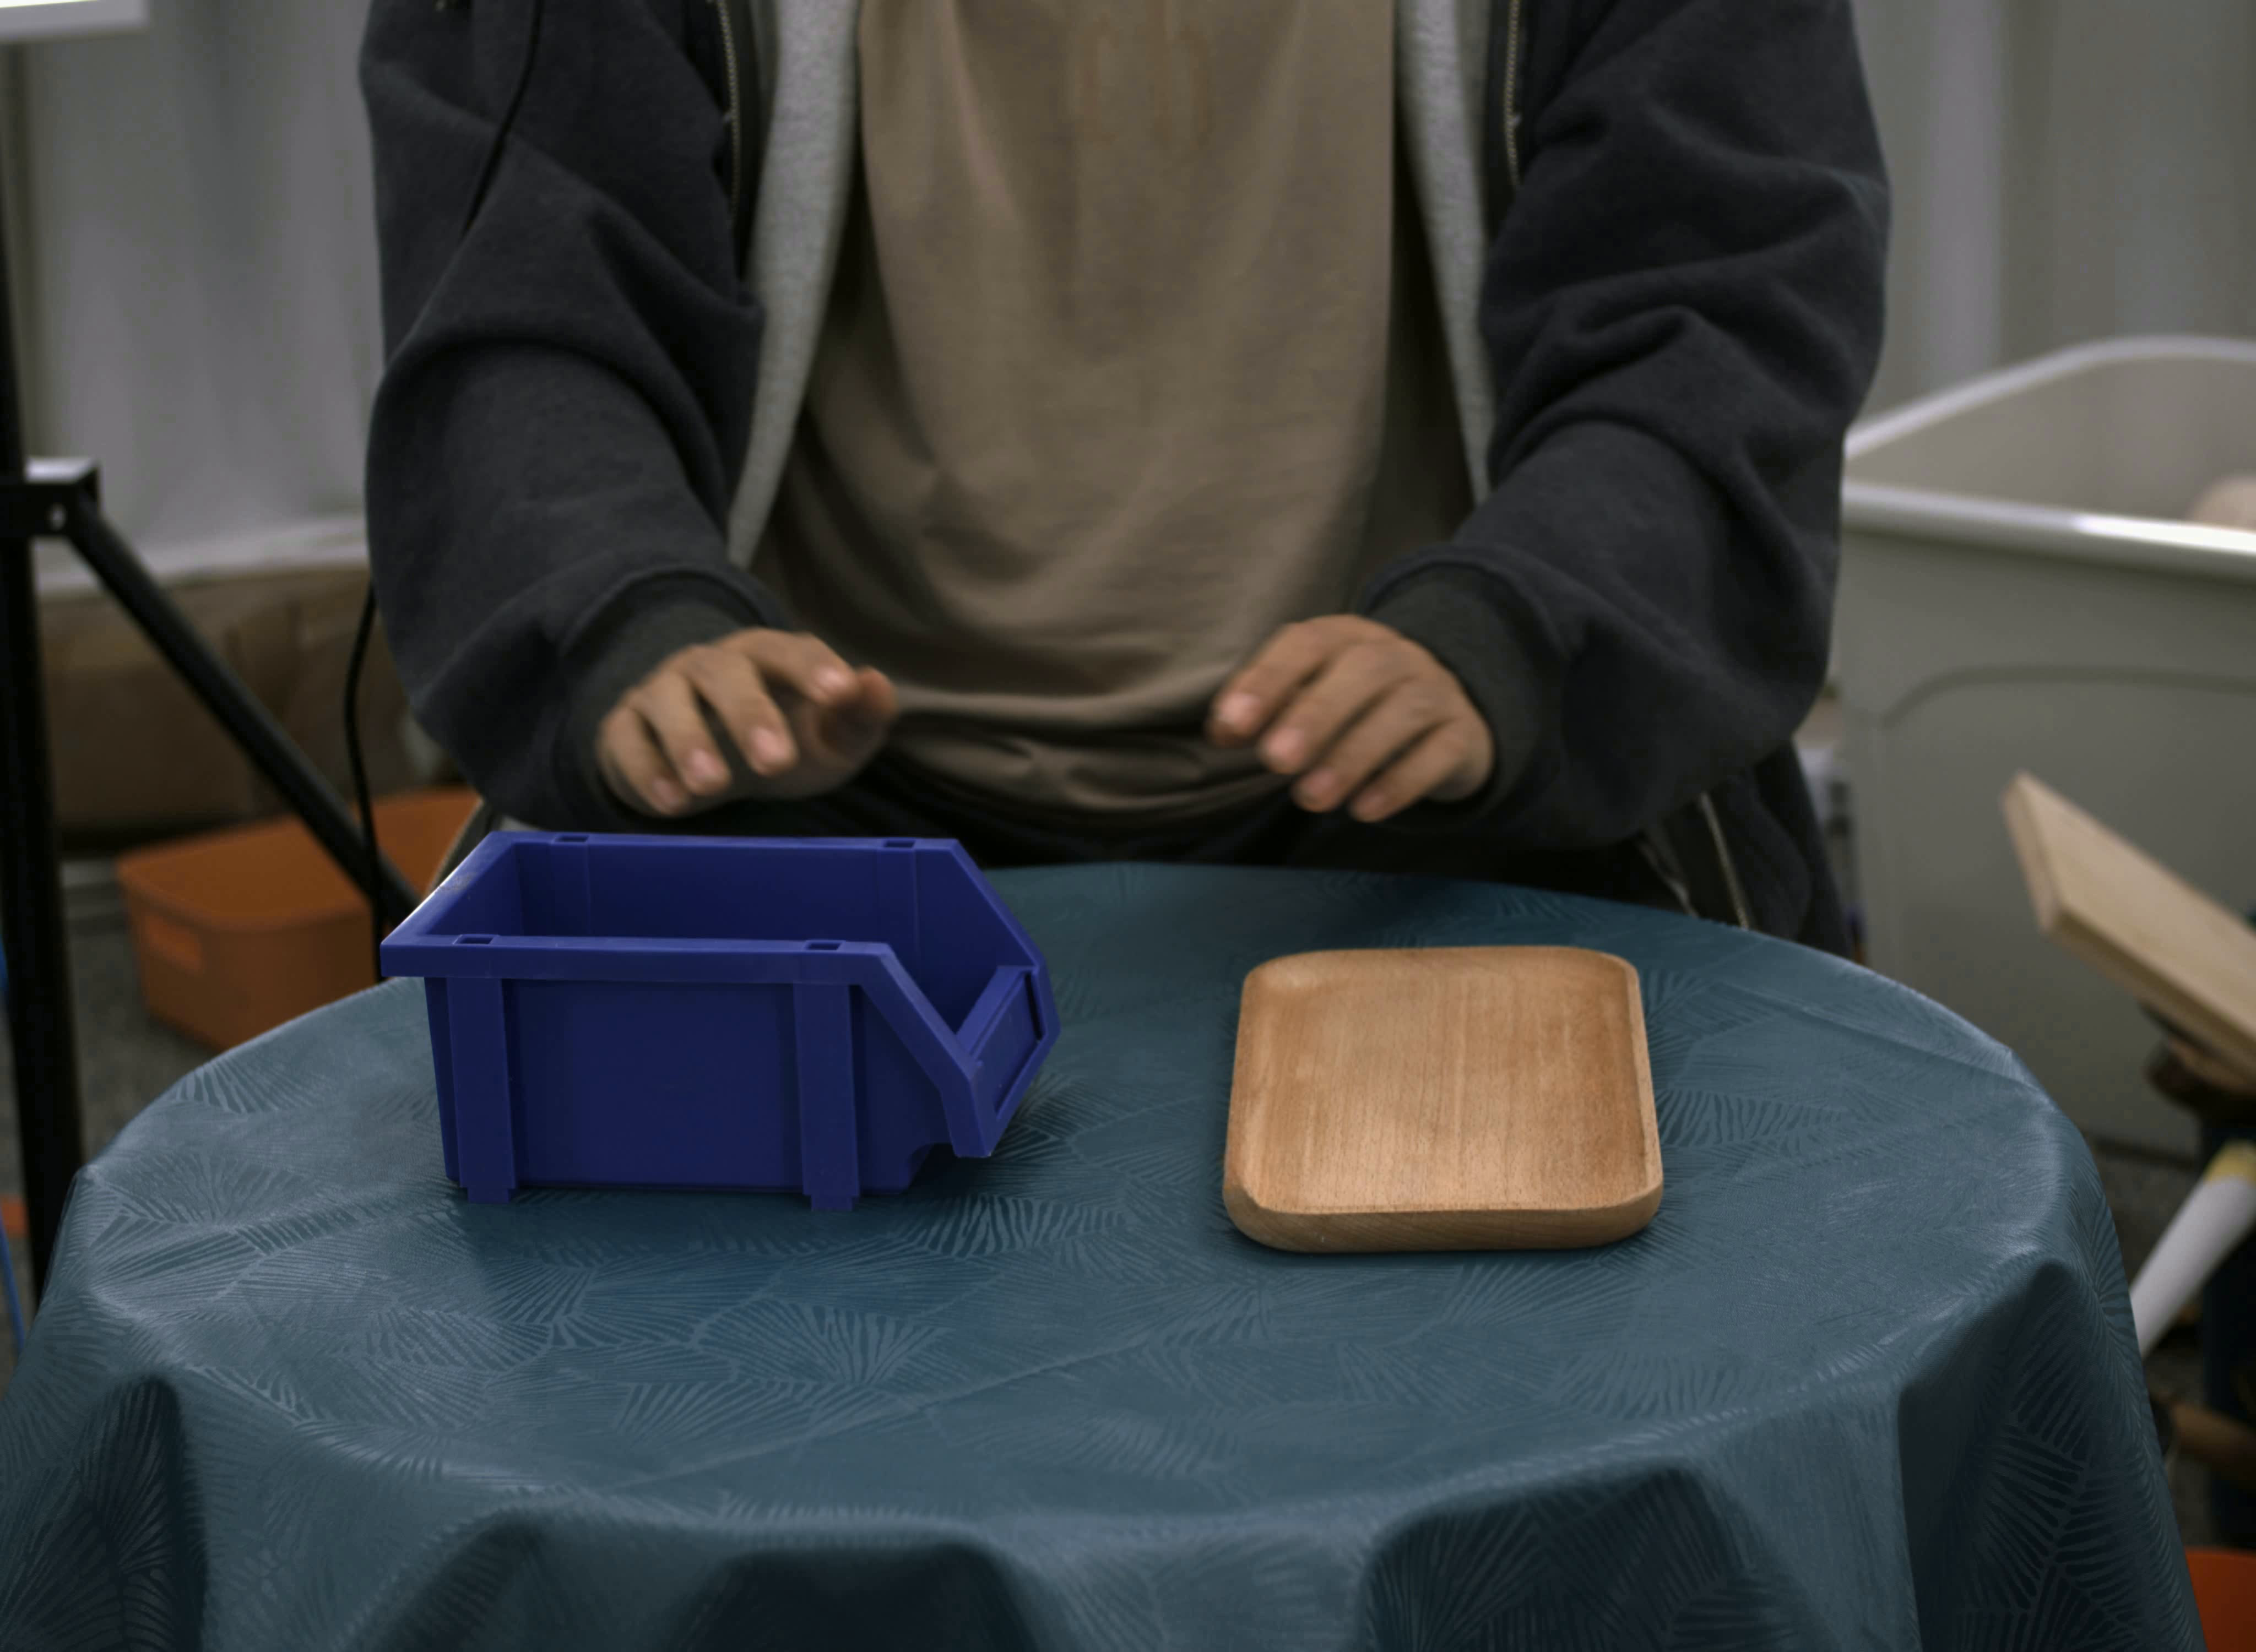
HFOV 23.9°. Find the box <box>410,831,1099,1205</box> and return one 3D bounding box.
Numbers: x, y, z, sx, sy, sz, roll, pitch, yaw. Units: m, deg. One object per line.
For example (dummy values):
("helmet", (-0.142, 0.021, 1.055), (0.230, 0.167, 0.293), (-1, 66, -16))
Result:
("box", (-0.109, 0.056, 1.612), (0.180, 0.082, 0.123), (-2, 15, 14))

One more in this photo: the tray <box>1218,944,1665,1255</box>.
("tray", (0.094, 0.081, 1.610), (0.130, 0.023, 0.251), (1, 15, 4))
